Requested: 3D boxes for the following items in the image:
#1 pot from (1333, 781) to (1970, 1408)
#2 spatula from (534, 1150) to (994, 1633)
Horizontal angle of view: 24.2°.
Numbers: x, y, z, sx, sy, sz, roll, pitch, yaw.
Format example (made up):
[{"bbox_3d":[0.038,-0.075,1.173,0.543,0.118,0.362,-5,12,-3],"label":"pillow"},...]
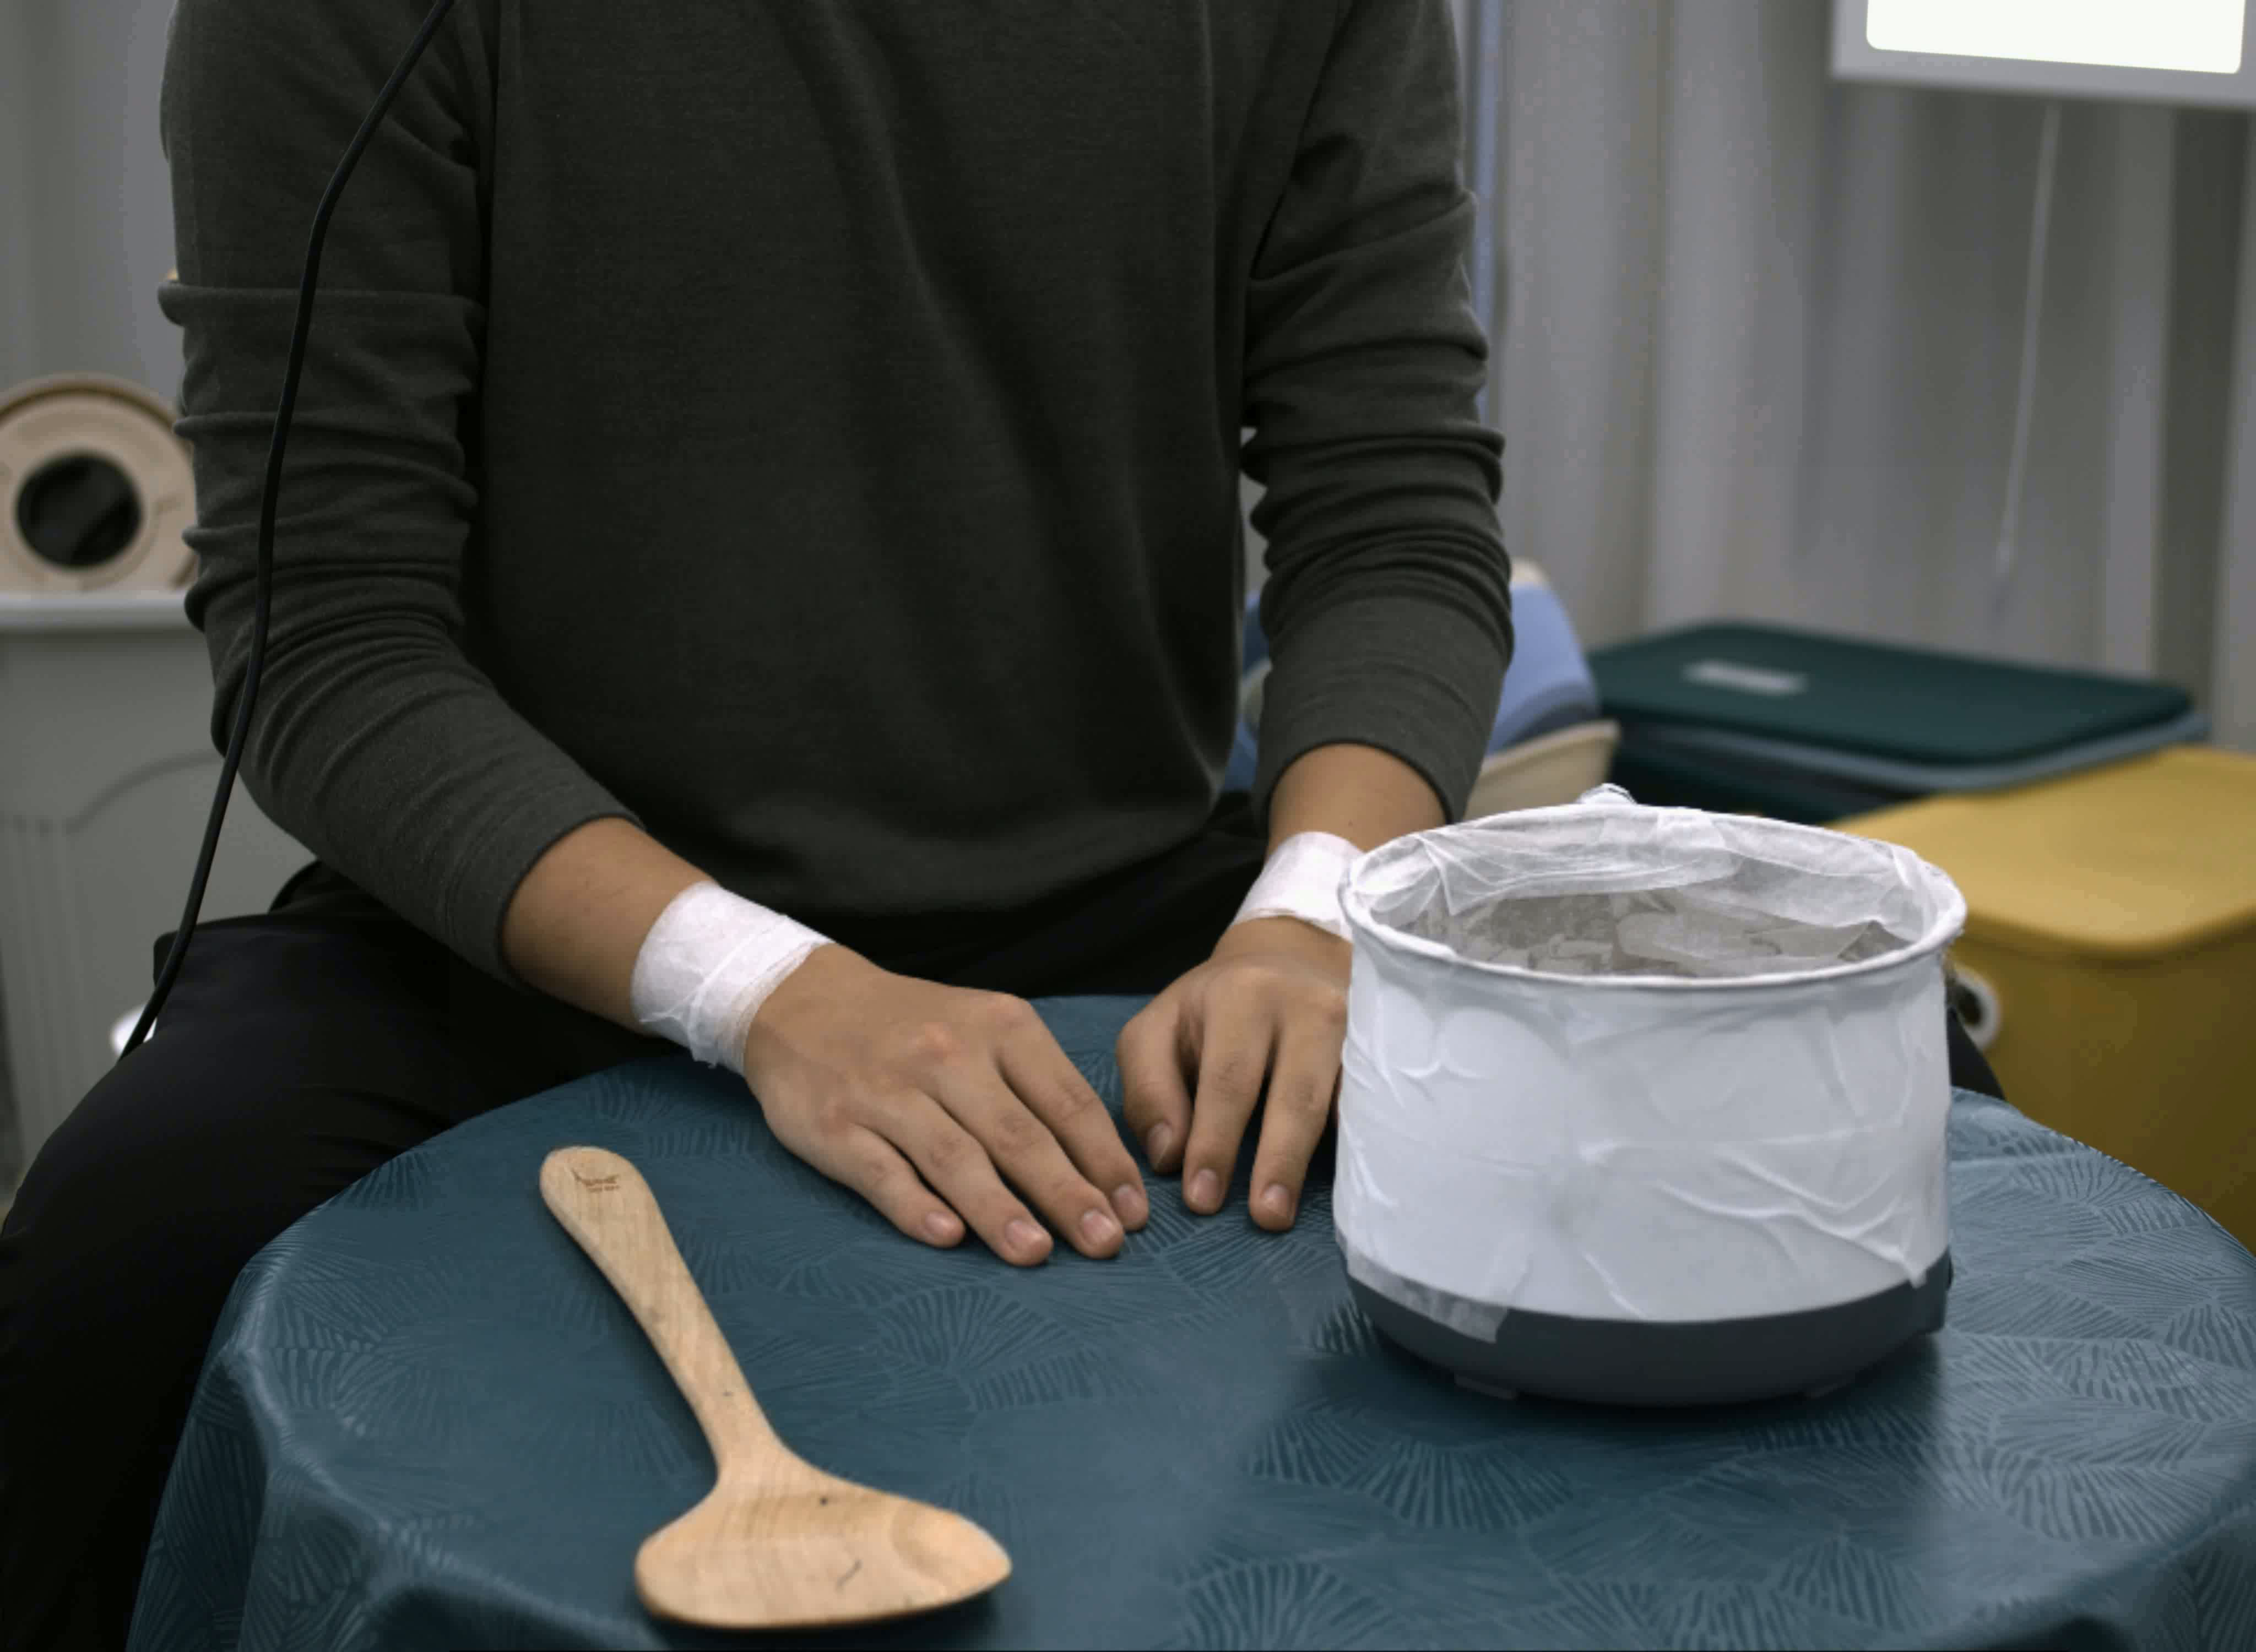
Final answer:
[{"bbox_3d":[0.145,0.071,1.520,0.178,0.138,0.232,0,16,-4],"label":"pot"},{"bbox_3d":[-0.125,0.149,1.454,0.096,0.018,0.387,-2,16,-16],"label":"spatula"}]
